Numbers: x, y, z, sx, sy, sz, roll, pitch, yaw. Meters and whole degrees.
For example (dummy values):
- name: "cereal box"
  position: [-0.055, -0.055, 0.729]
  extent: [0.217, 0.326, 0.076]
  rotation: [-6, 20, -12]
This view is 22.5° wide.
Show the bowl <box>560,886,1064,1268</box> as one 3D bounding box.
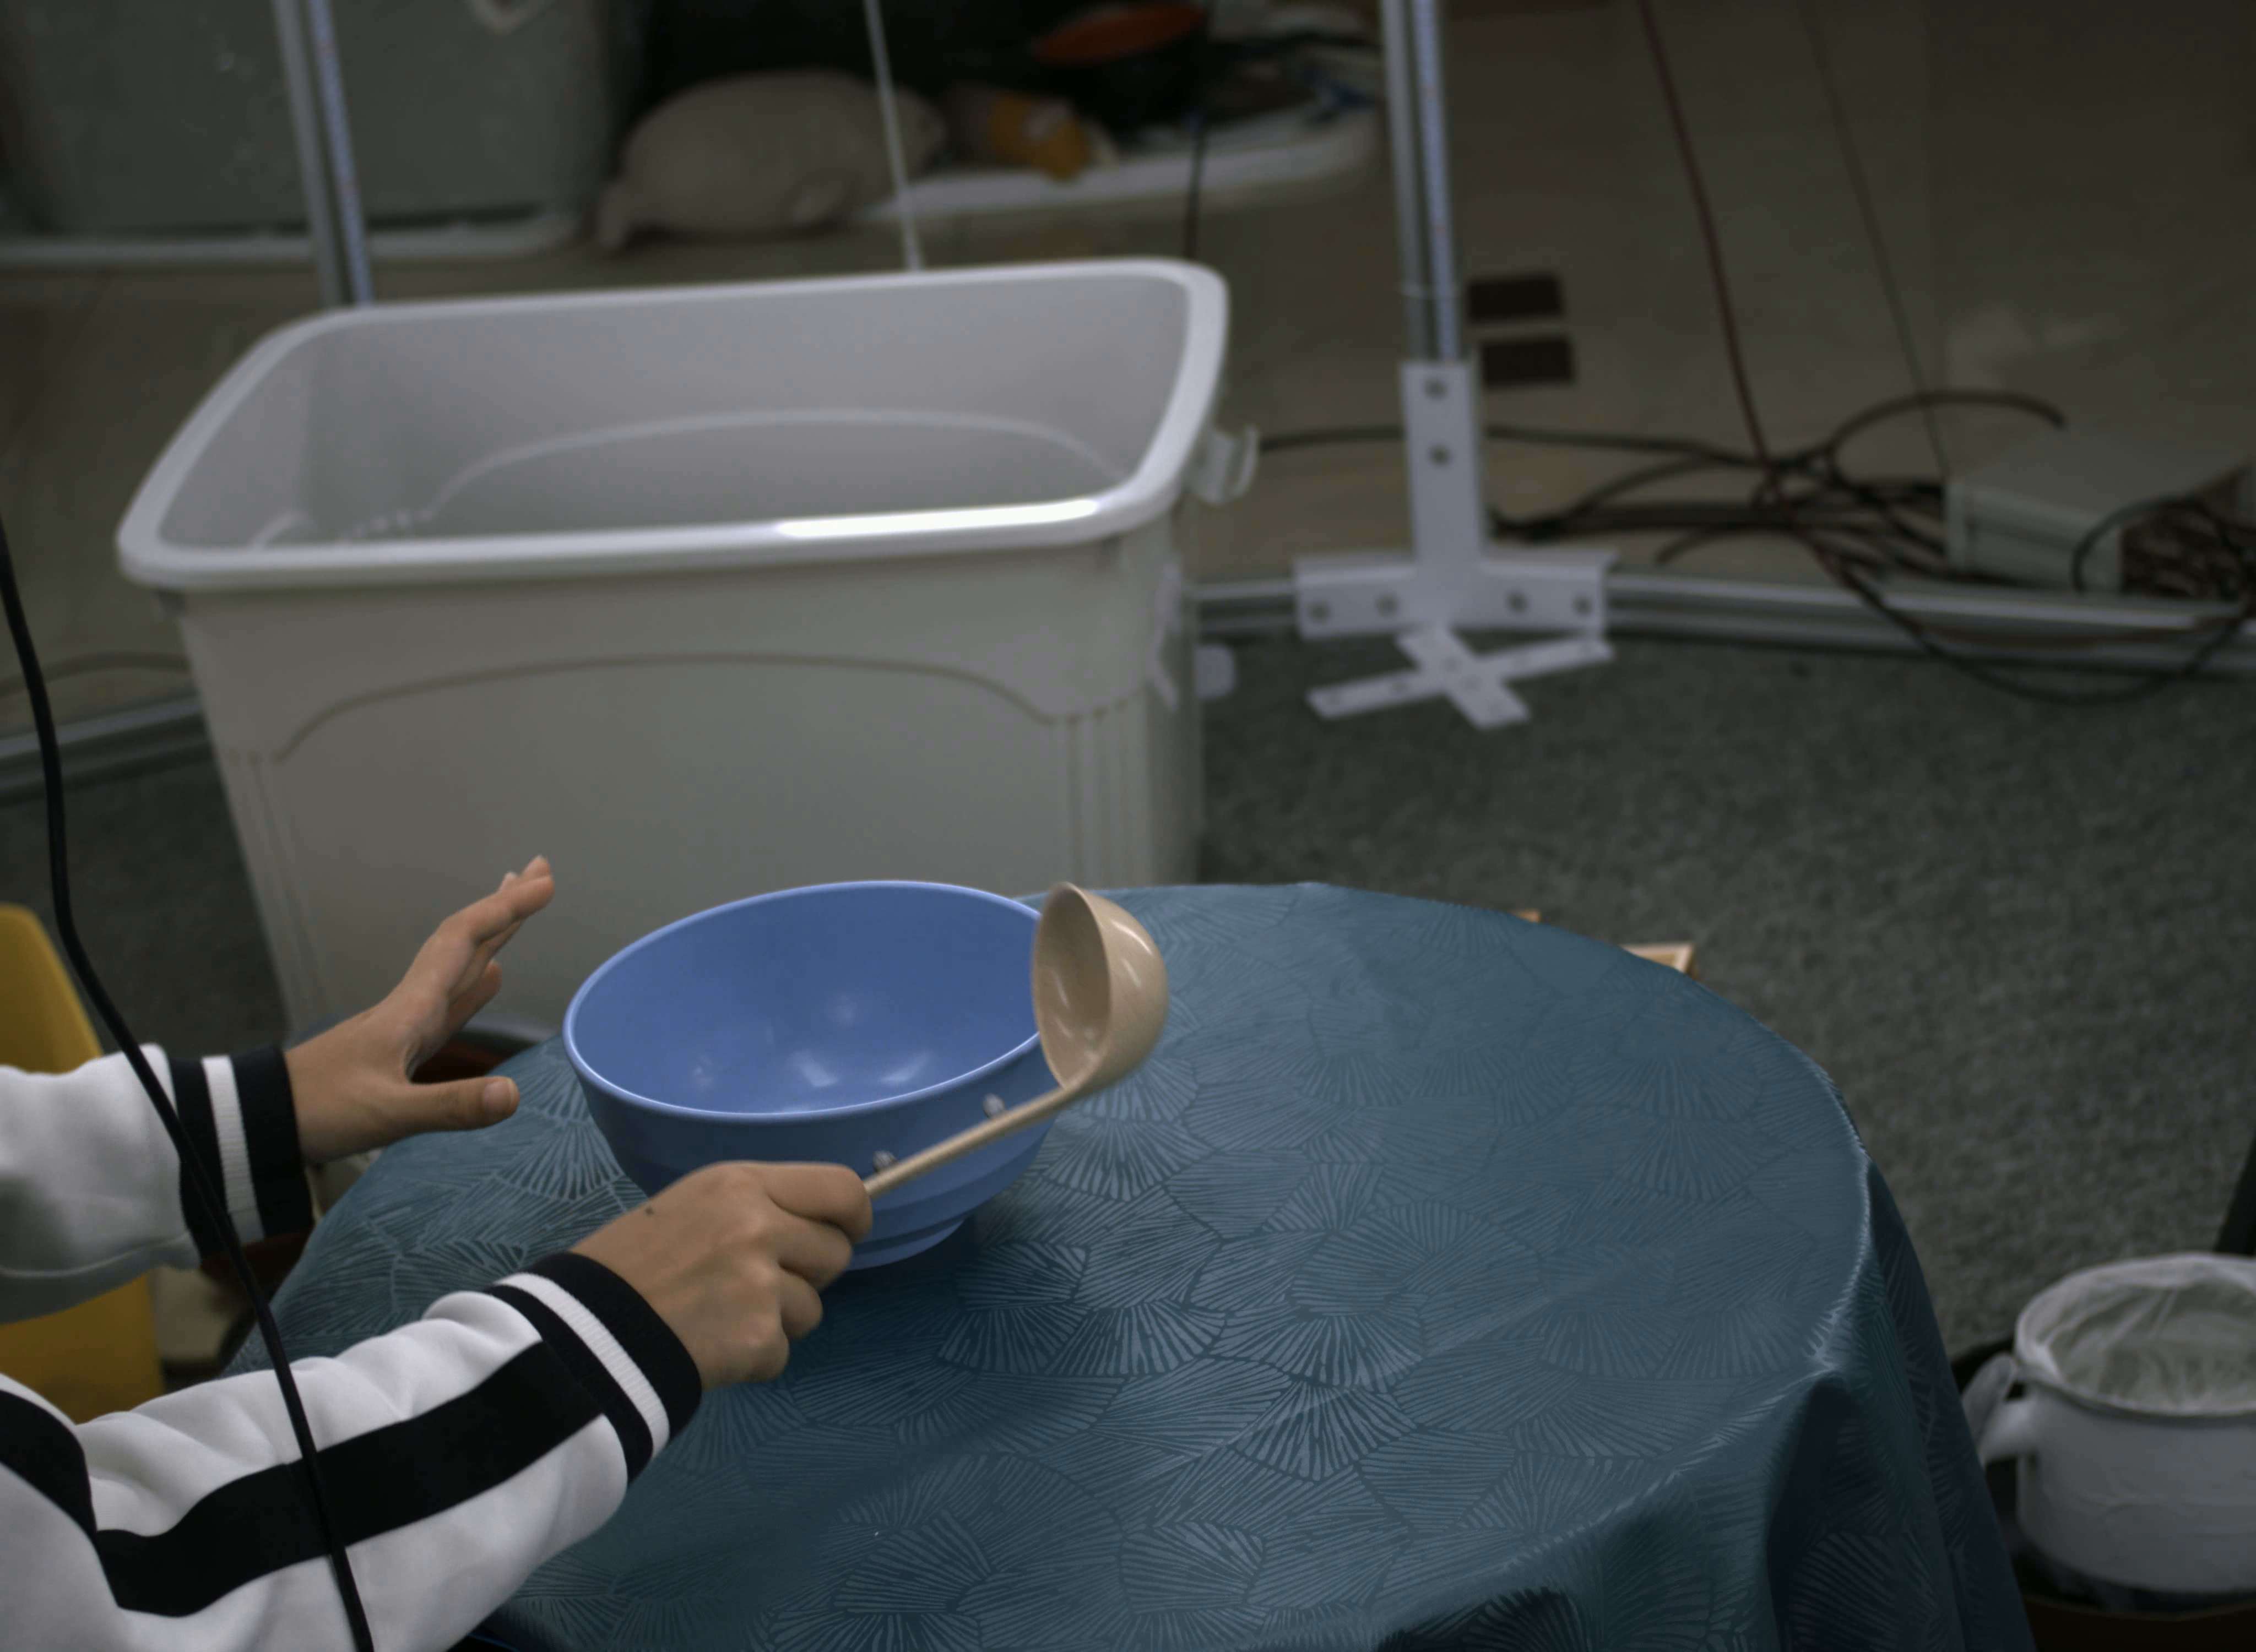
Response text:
- name: "bowl"
  position: [-0.111, 0.104, 2.134]
  extent: [0.196, 0.097, 0.194]
  rotation: [-4, 23, 2]

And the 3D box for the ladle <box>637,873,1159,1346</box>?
- name: "ladle"
  position: [-0.093, 0.094, 1.962]
  extent: [0.252, 0.073, 0.072]
  rotation: [-29, 74, -34]
